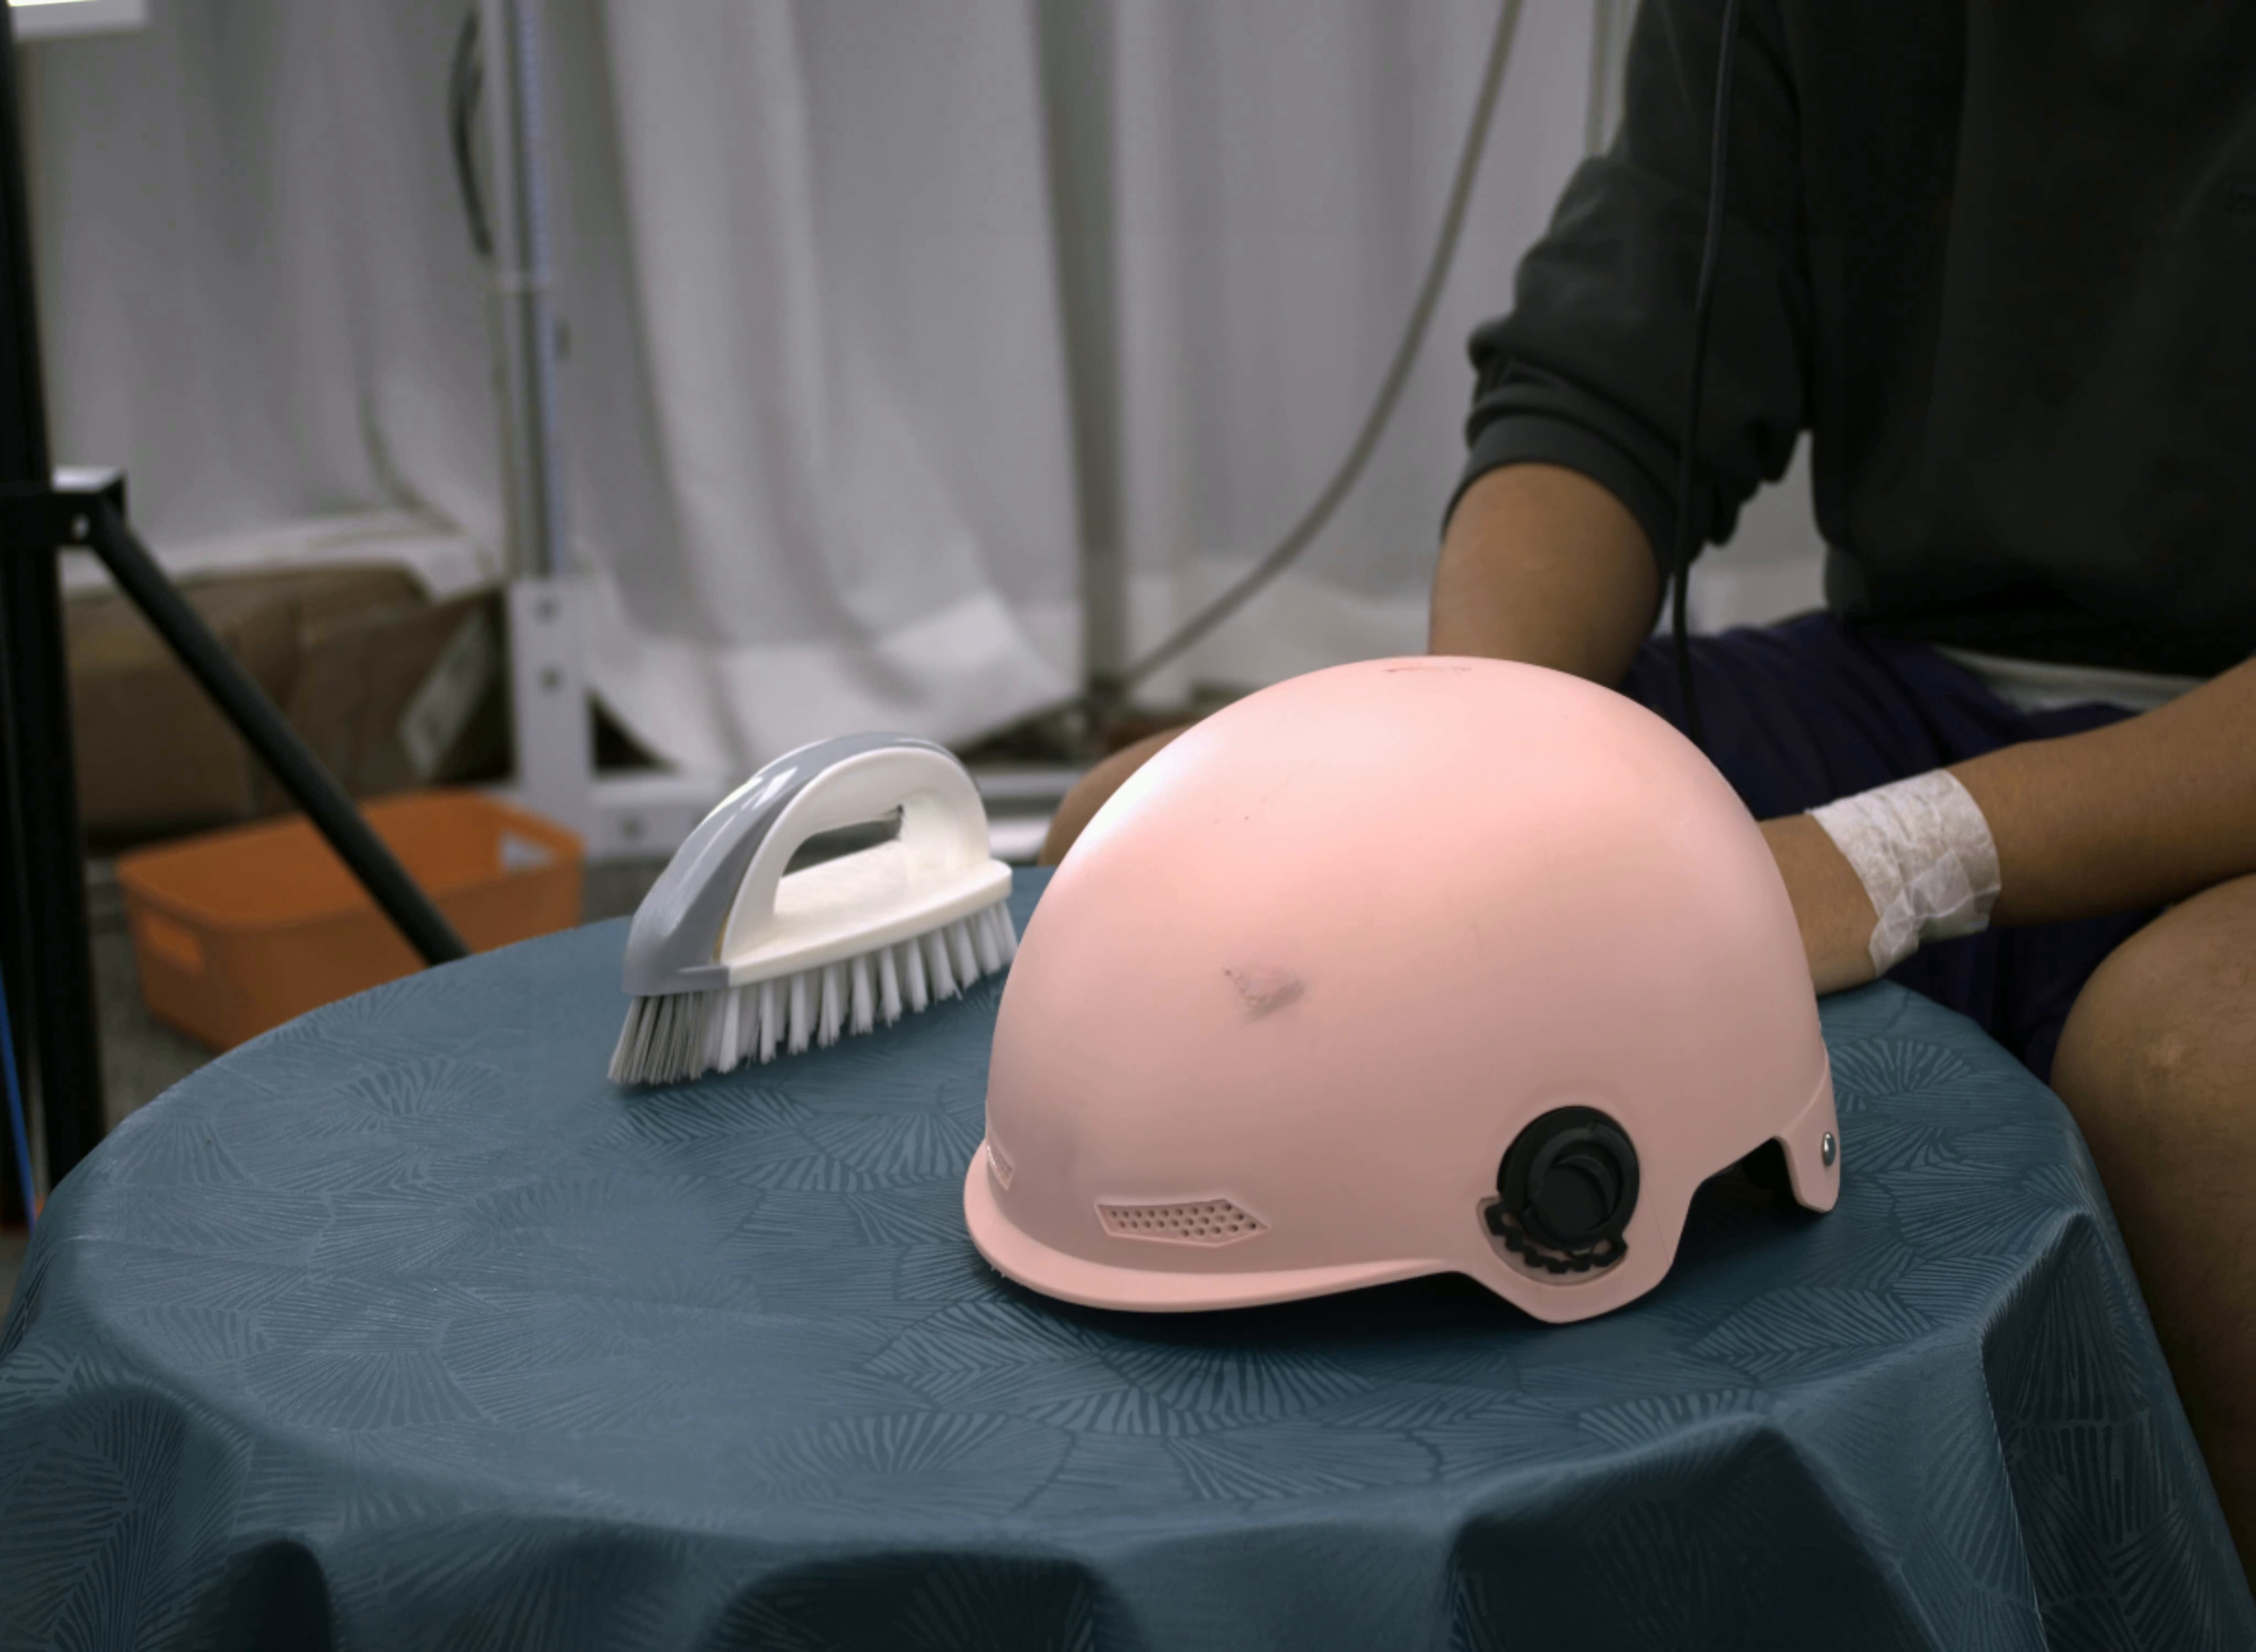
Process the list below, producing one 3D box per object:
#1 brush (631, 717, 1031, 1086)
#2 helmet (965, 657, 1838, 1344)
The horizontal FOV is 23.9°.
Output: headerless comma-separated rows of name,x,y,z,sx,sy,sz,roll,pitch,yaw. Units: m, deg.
brush,-0.103,0.020,1.720,0.063,0.094,0.172,9,21,37
helmet,0.074,0.039,1.518,0.260,0.158,0.239,-17,21,-32
